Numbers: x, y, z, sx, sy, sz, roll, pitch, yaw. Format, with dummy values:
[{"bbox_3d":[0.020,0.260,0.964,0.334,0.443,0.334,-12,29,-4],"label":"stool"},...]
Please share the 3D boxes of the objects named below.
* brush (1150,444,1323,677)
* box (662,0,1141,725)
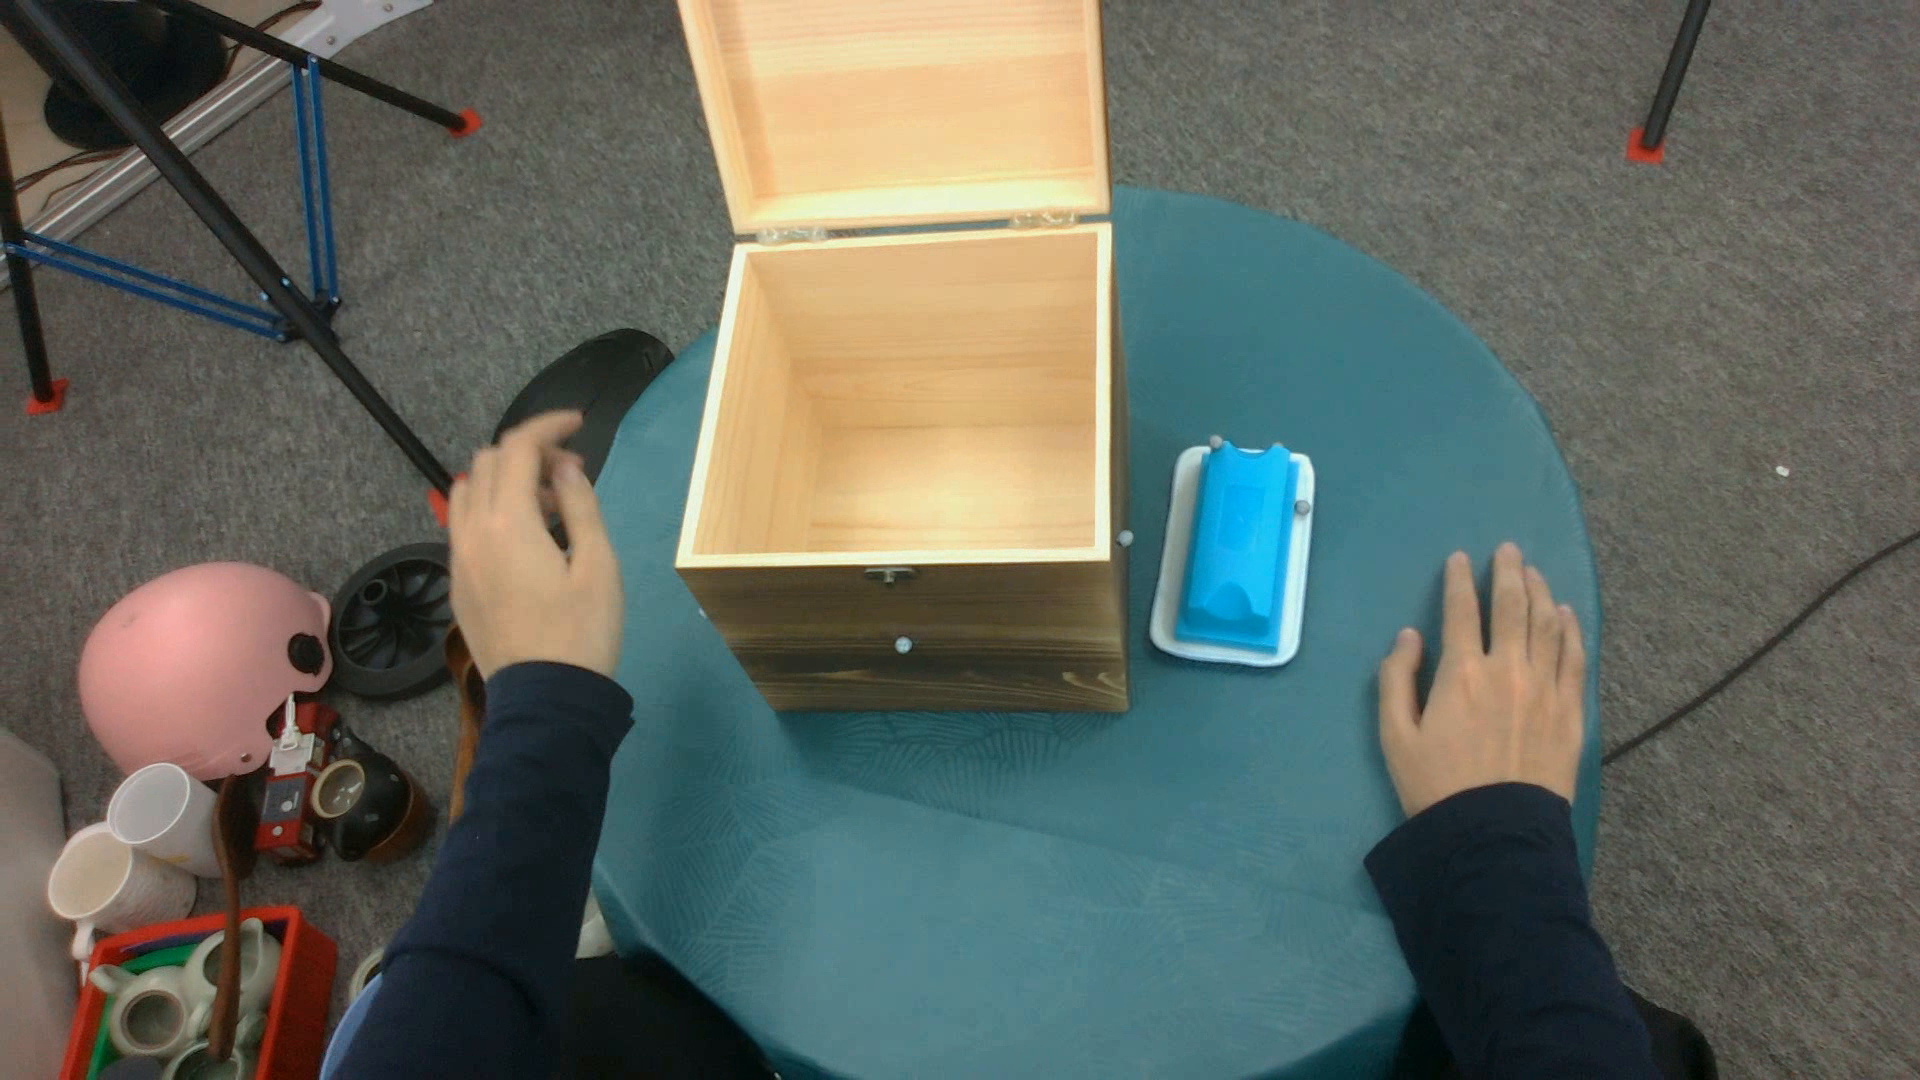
[{"bbox_3d":[0.154,0.004,0.765,0.084,0.056,0.144,6,58,18],"label":"brush"},{"bbox_3d":[-0.028,-0.119,0.699,0.208,0.374,0.323,-3,58,10],"label":"box"}]
